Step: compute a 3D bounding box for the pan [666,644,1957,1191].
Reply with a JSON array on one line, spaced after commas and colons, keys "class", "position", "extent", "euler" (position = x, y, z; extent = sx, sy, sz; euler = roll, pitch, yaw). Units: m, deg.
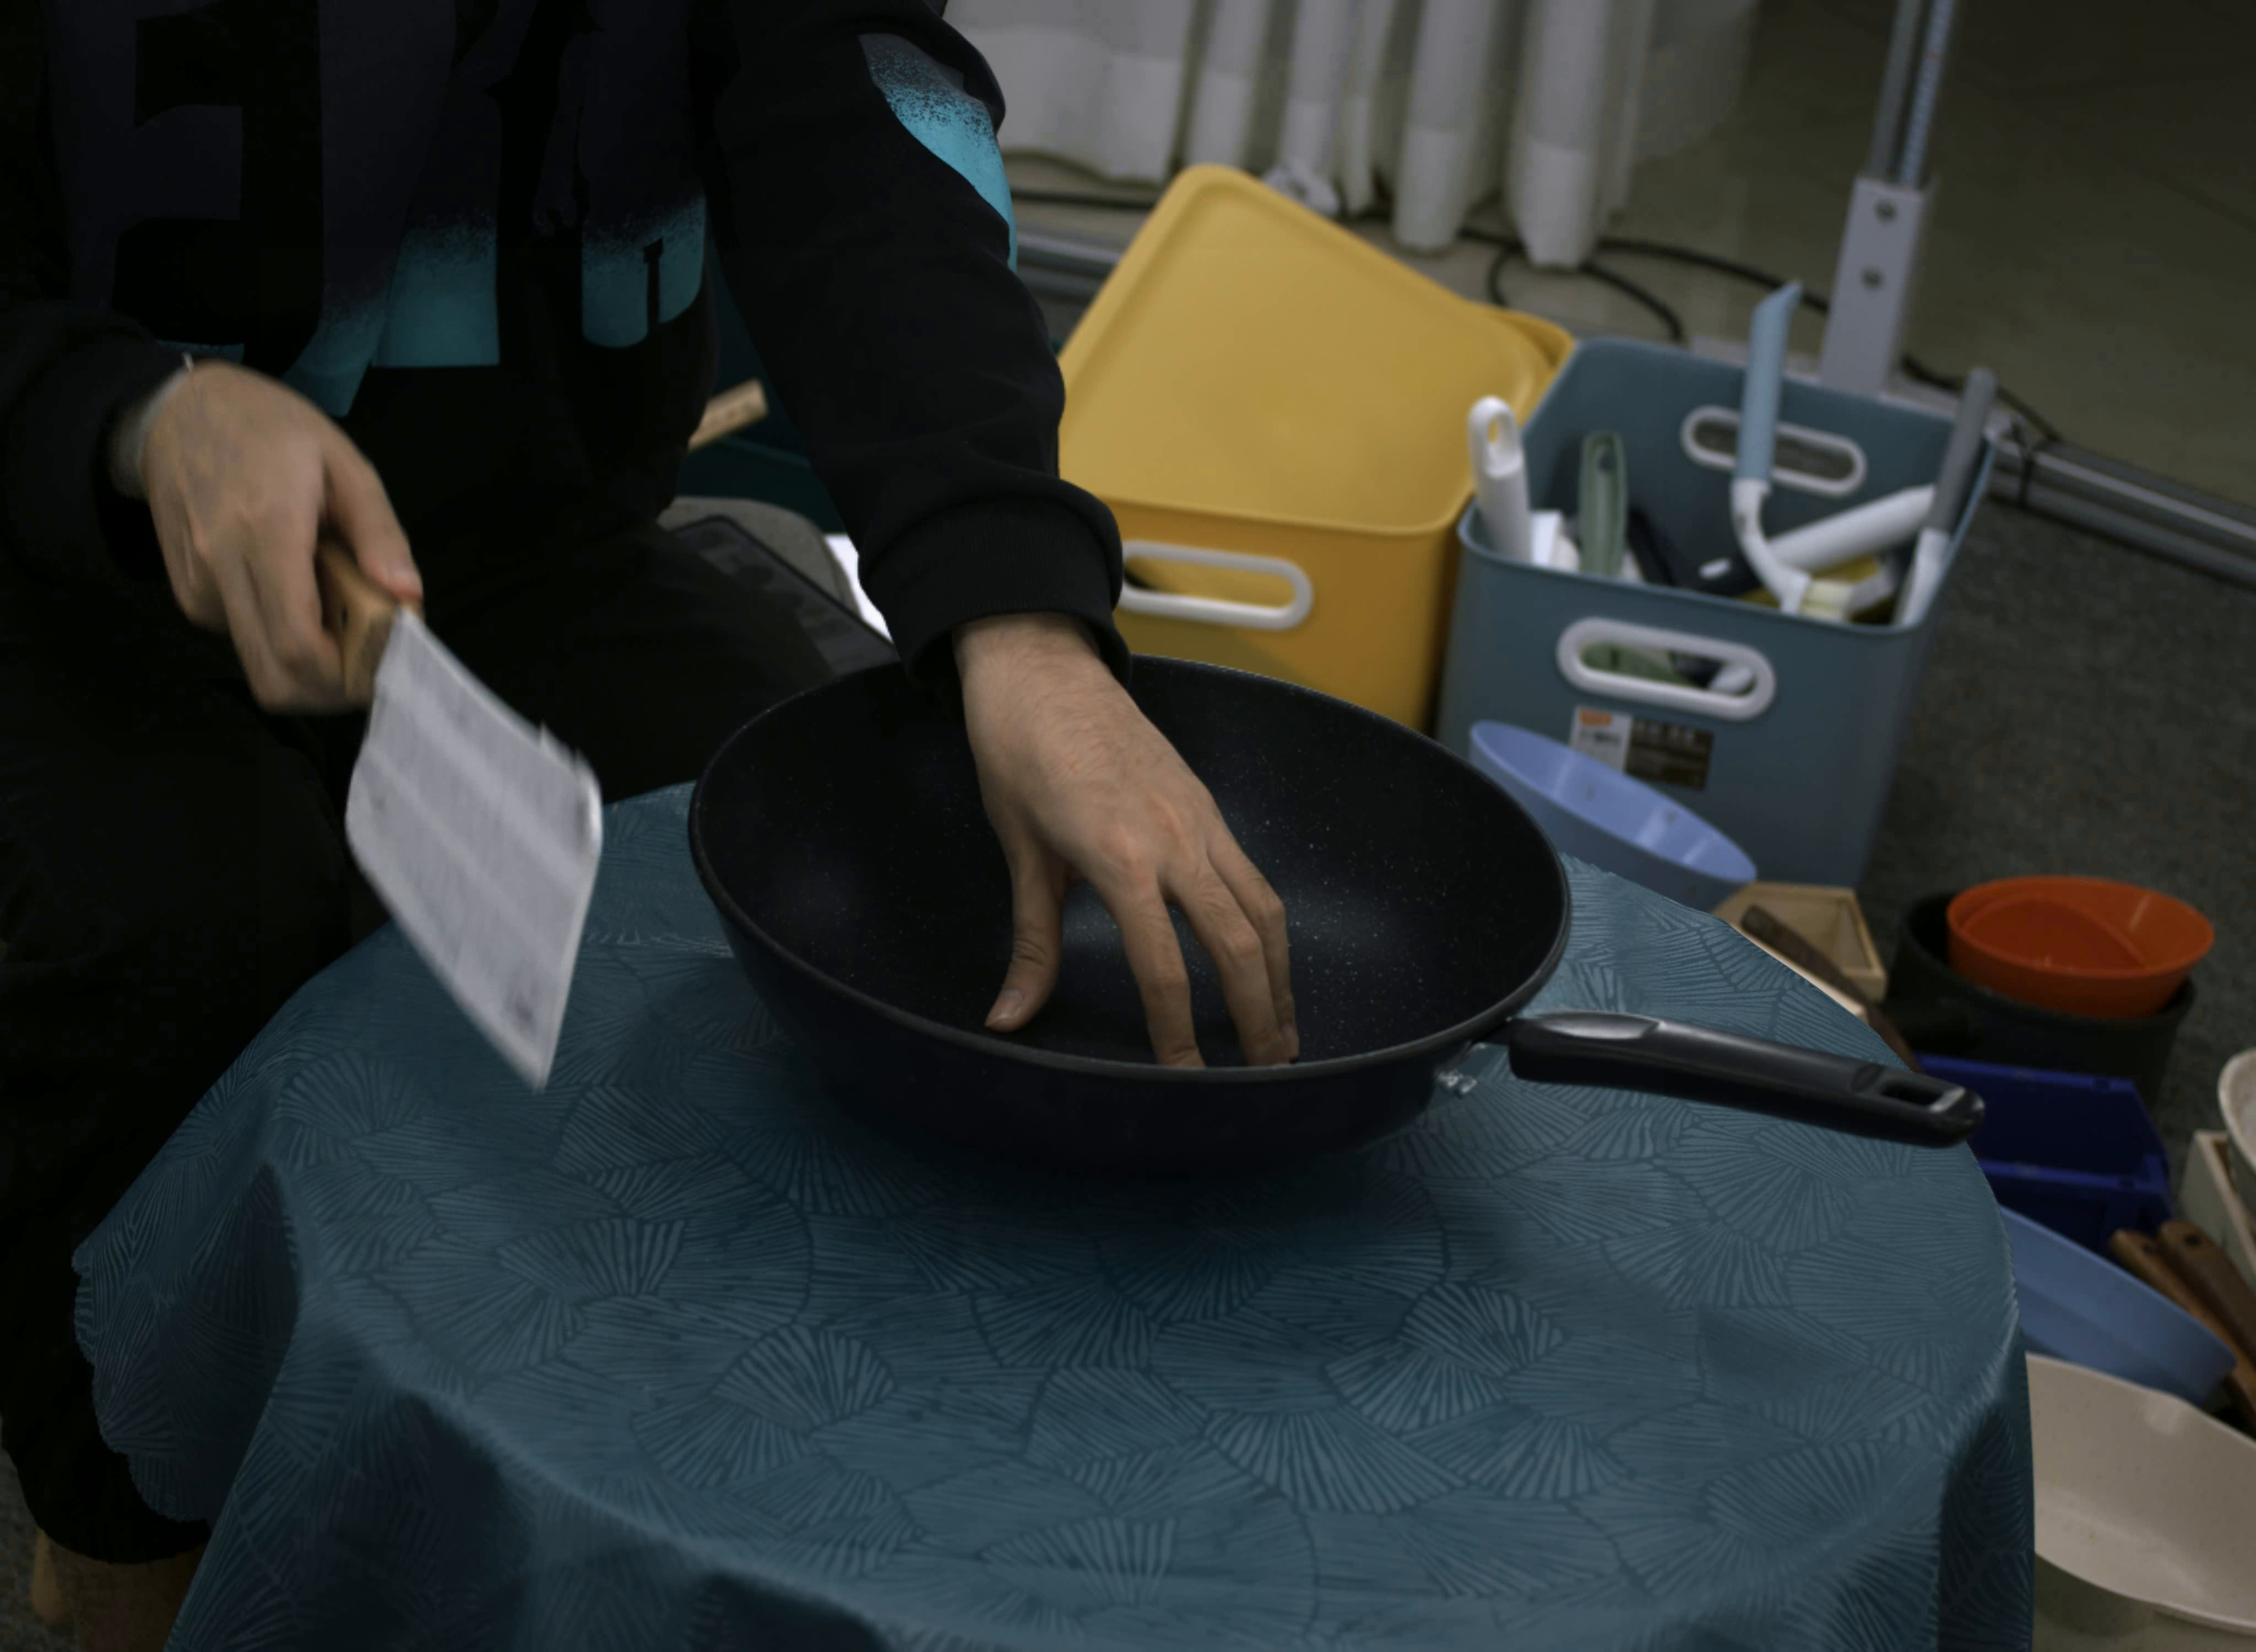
[{"class": "pan", "position": [0.060, 0.061, 1.823], "extent": [0.479, 0.111, 0.309], "euler": [22, 32, 27]}]

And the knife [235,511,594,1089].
[{"class": "knife", "position": [-0.239, -0.026, 1.771], "extent": [0.021, 0.114, 0.318], "euler": [6, 26, -31]}]
